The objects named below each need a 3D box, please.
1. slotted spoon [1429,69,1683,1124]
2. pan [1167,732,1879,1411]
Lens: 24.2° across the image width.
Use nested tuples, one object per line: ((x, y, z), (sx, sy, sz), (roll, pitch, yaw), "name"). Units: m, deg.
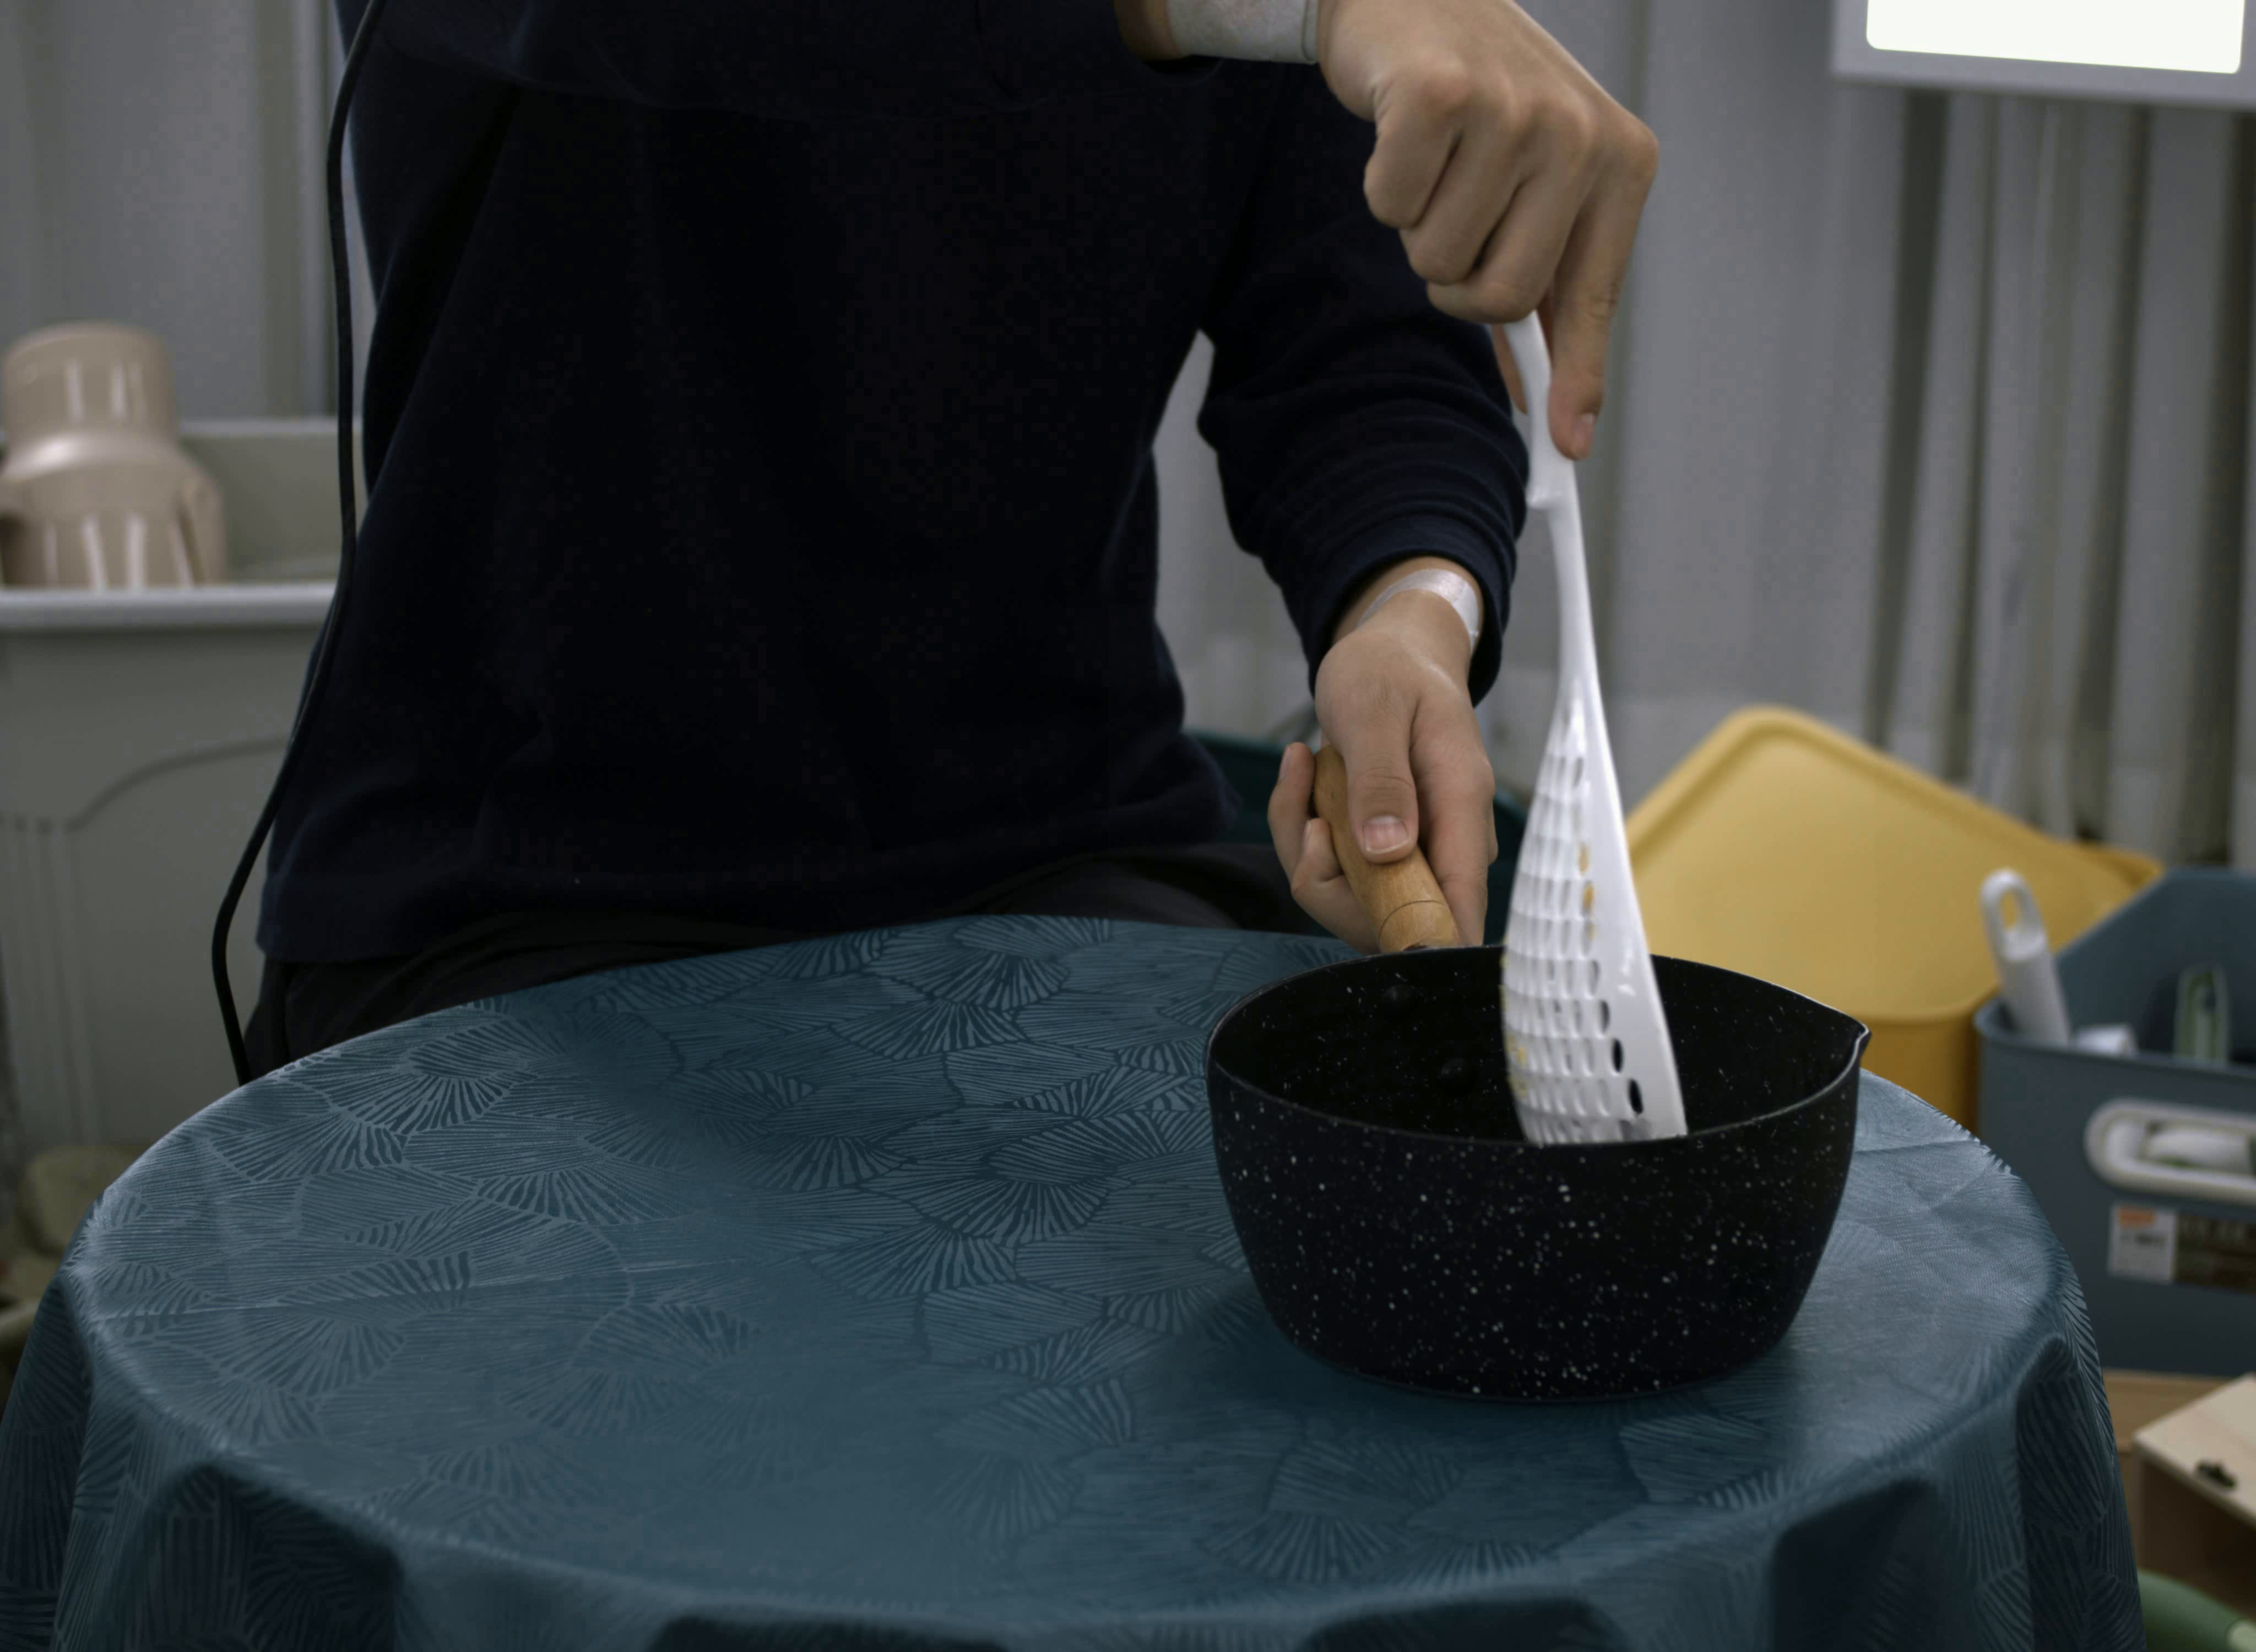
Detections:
((0.119, -0.041, 1.496), (0.050, 0.350, 0.136), (-5, 10, -4), "slotted spoon")
((0.099, 0.068, 1.583), (0.207, 0.109, 0.339), (-4, 18, -12), "pan")
